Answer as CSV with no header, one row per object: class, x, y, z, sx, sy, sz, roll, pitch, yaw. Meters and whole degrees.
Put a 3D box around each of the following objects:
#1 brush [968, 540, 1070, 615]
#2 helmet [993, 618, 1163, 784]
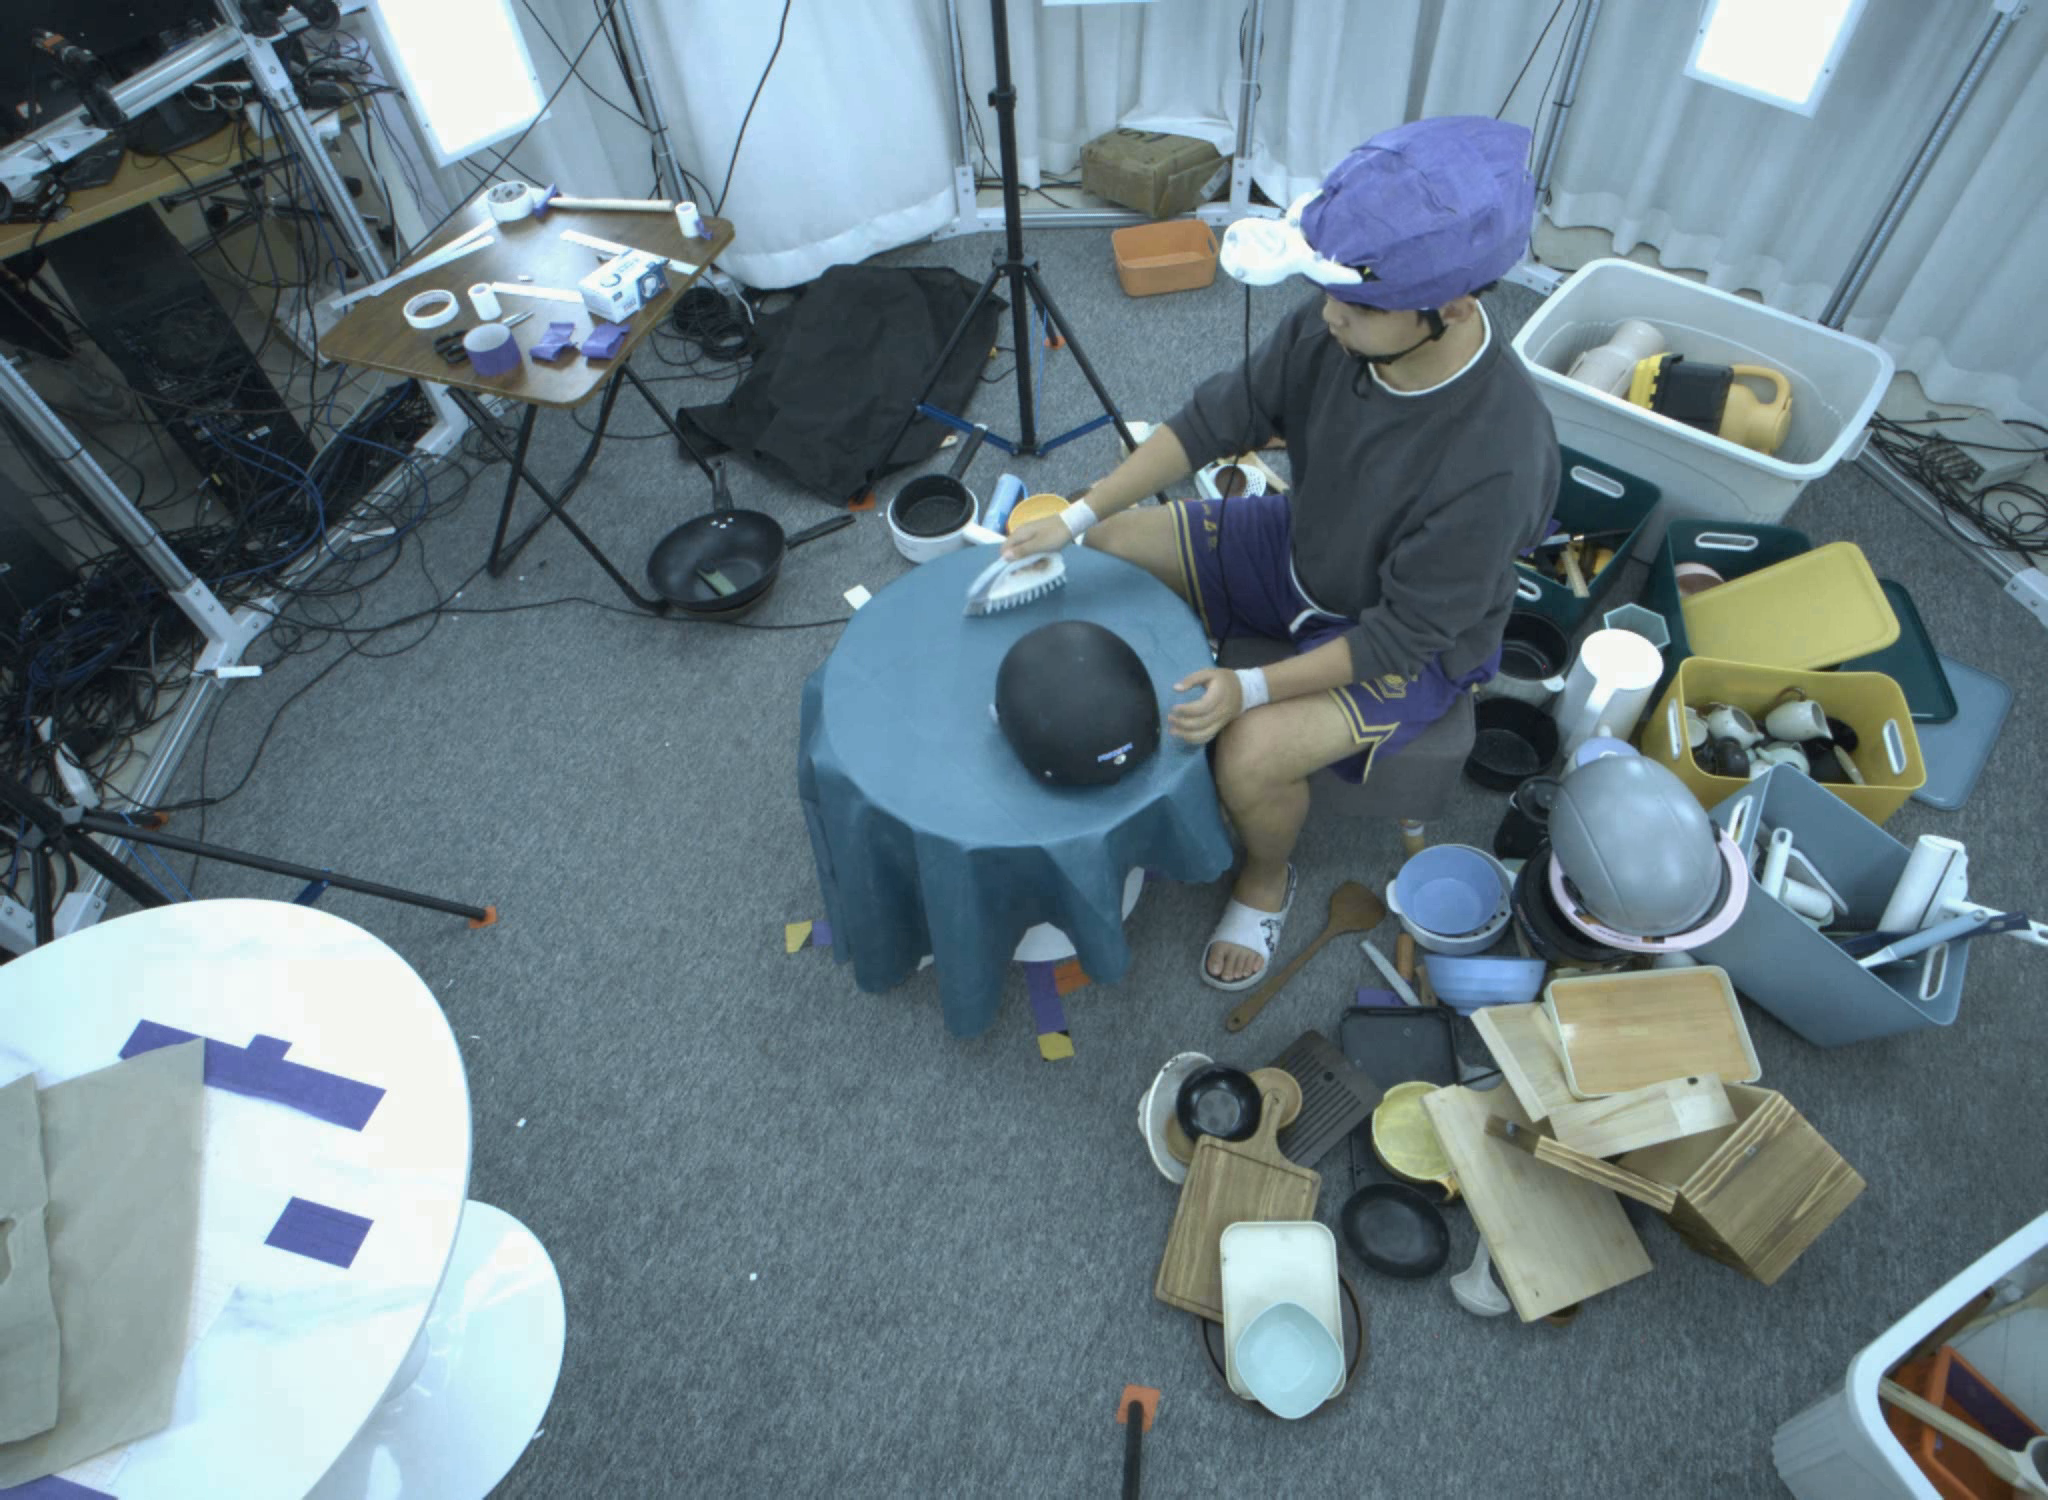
brush,-0.015,-0.274,1.928,0.176,0.095,0.060,-25,58,-12
helmet,0.073,-0.090,1.753,0.231,0.169,0.268,-20,54,-11
